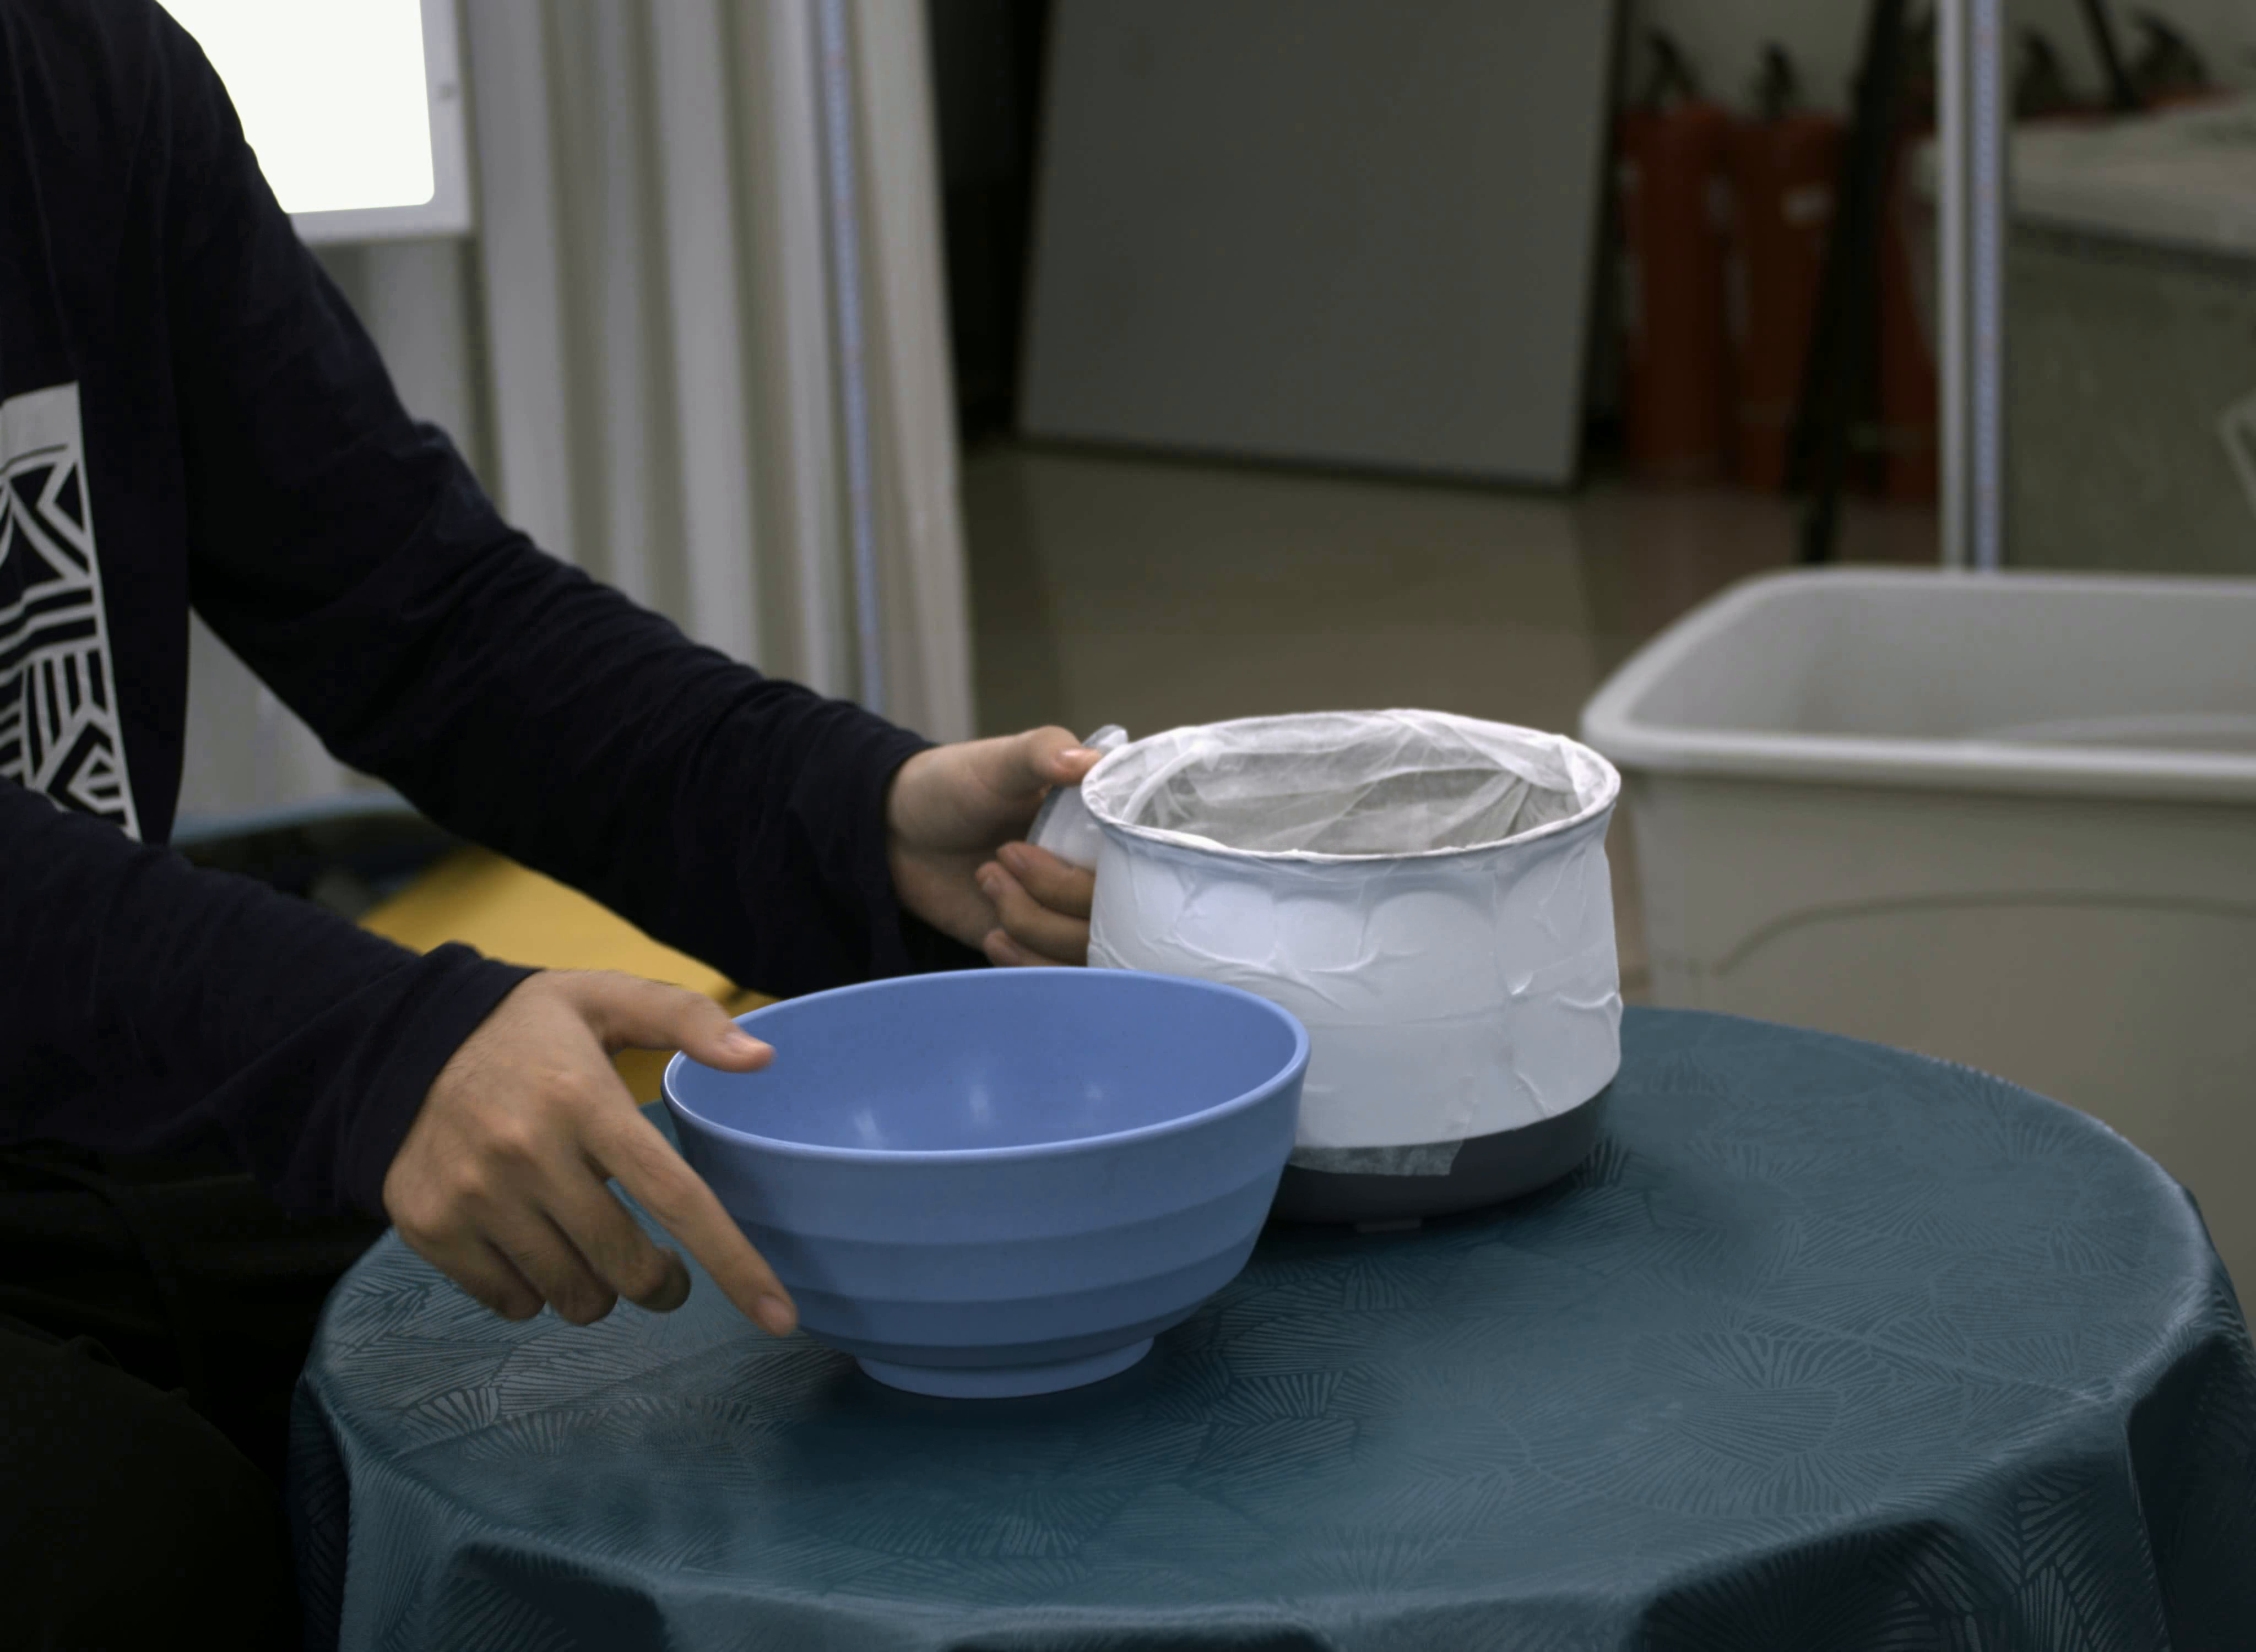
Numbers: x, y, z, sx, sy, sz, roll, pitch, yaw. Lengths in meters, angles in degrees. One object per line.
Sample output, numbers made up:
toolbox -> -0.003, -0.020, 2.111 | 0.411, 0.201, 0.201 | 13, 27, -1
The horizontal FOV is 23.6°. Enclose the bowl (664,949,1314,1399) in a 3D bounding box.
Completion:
bowl -> -0.039, 0.111, 1.620 | 0.194, 0.096, 0.197 | -3, 16, 0

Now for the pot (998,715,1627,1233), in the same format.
pot -> 0.052, 0.043, 1.780 | 0.235, 0.138, 0.175 | 9, 16, 36
